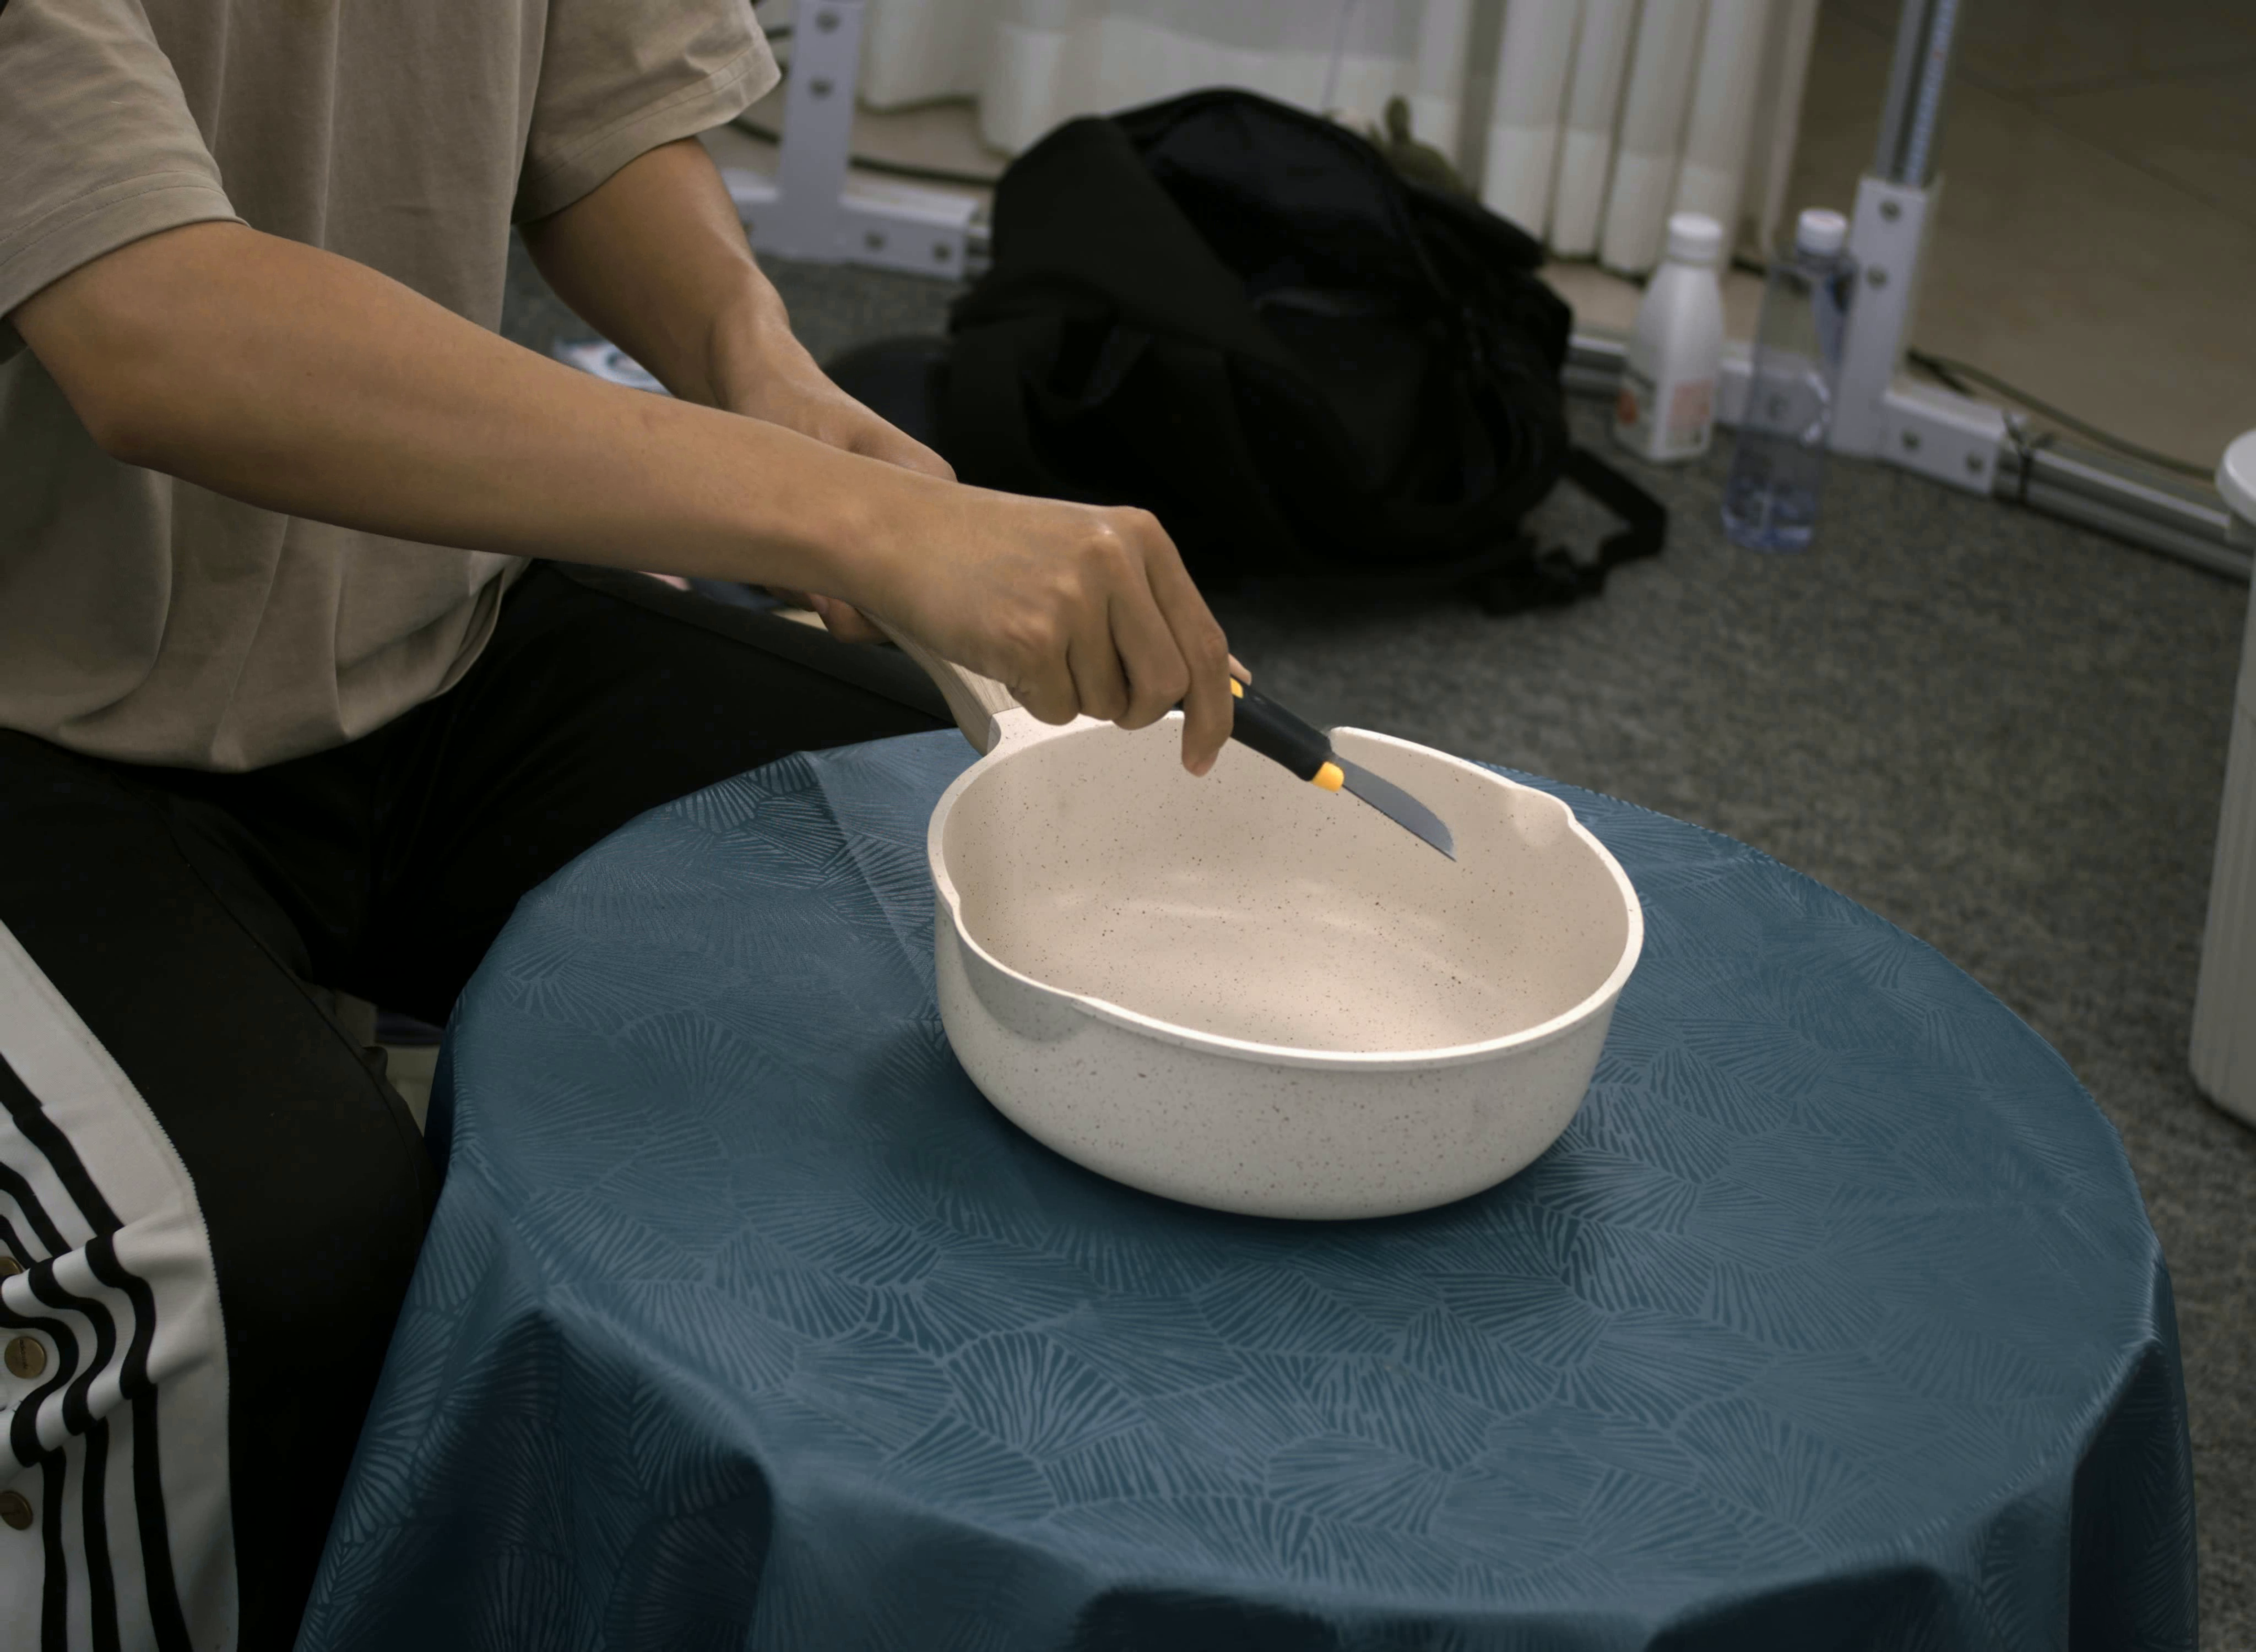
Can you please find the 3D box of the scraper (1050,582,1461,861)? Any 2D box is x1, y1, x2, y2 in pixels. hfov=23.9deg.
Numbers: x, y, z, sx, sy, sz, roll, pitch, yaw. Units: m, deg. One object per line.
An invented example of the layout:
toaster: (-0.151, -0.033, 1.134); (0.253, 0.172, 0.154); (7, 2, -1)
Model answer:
scraper: (0.045, -0.036, 1.835); (0.170, 0.015, 0.039); (30, 30, -18)

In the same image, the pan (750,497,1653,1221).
pan: (-0.003, 0.008, 1.927); (0.262, 0.101, 0.438); (-18, 36, -35)
